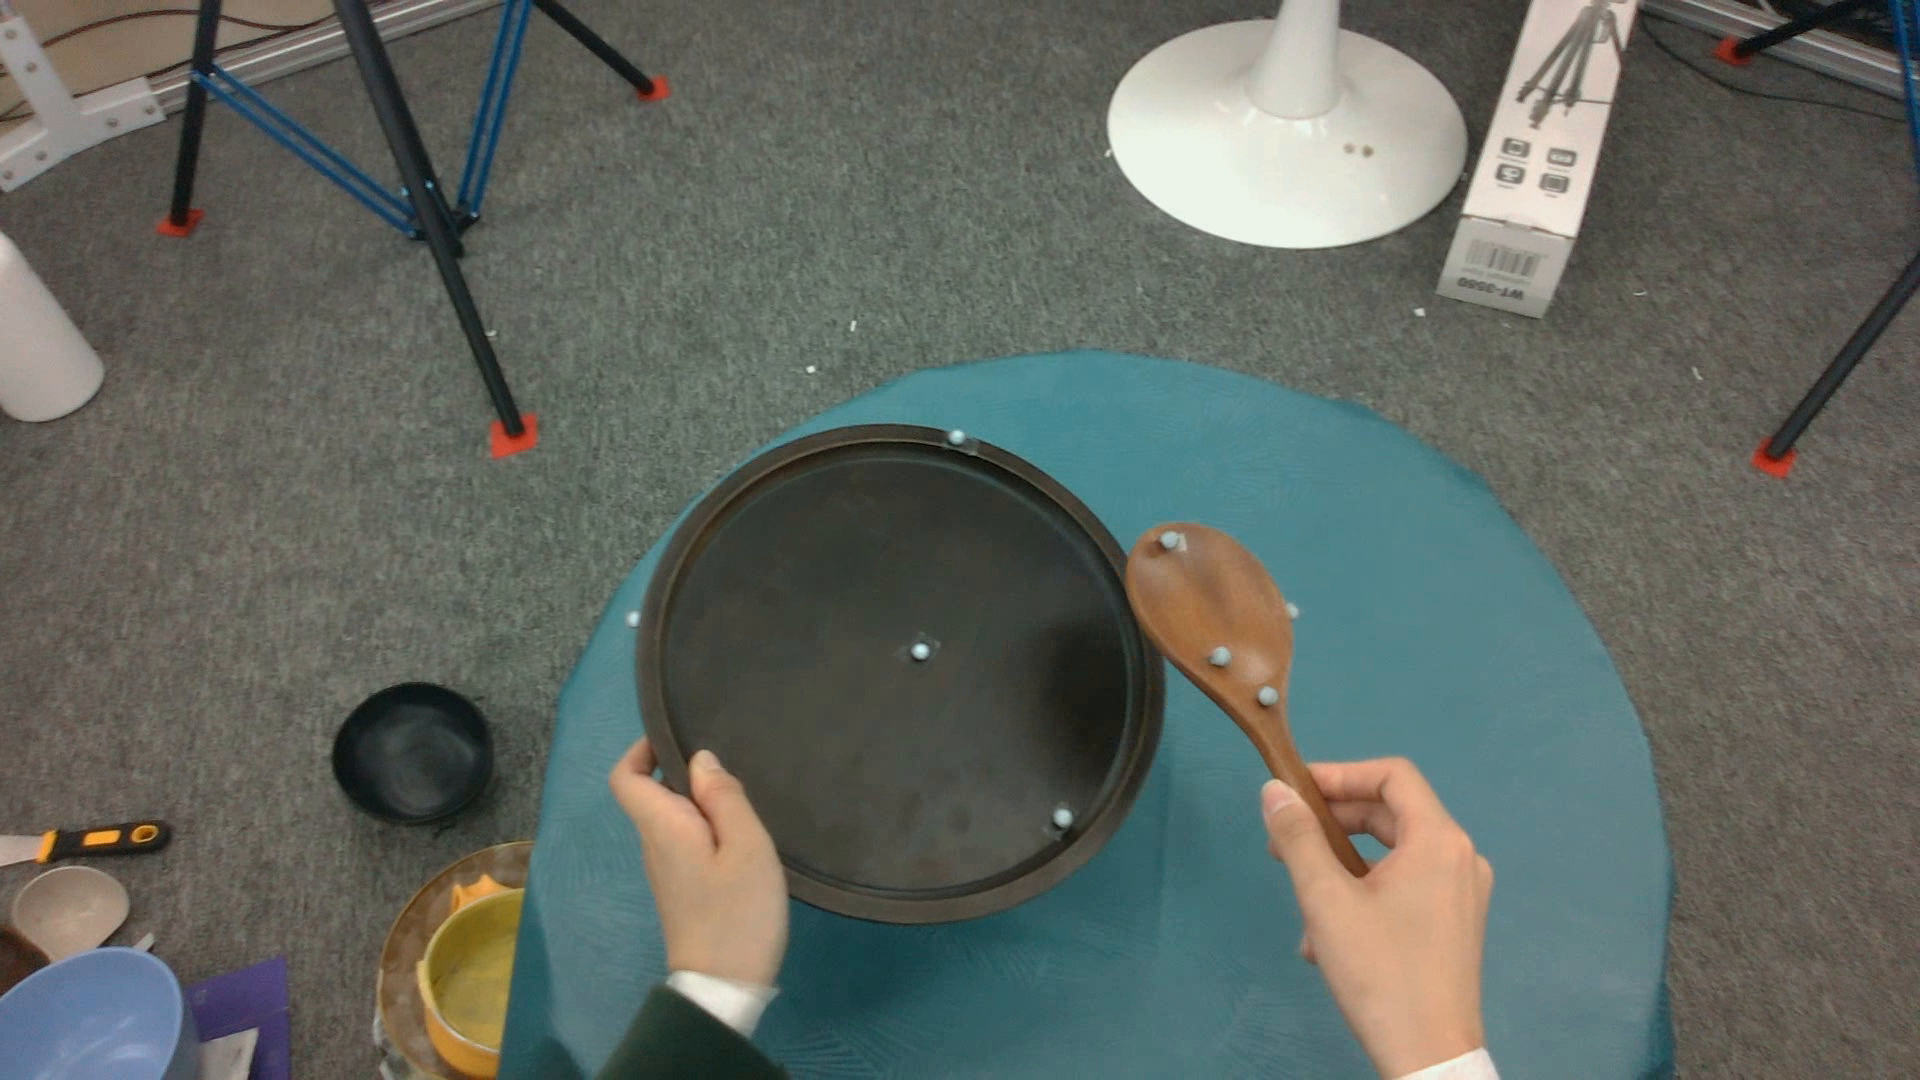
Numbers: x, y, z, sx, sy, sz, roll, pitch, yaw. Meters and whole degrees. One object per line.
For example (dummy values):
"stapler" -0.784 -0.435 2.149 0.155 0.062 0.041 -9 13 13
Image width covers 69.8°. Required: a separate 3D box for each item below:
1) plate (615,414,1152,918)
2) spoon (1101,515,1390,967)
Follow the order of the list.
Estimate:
"plate" -0.032 0.052 0.651 0.255 0.029 0.256 7 60 -11
"spoon" 0.118 0.075 0.574 0.075 0.017 0.216 -5 52 -24
